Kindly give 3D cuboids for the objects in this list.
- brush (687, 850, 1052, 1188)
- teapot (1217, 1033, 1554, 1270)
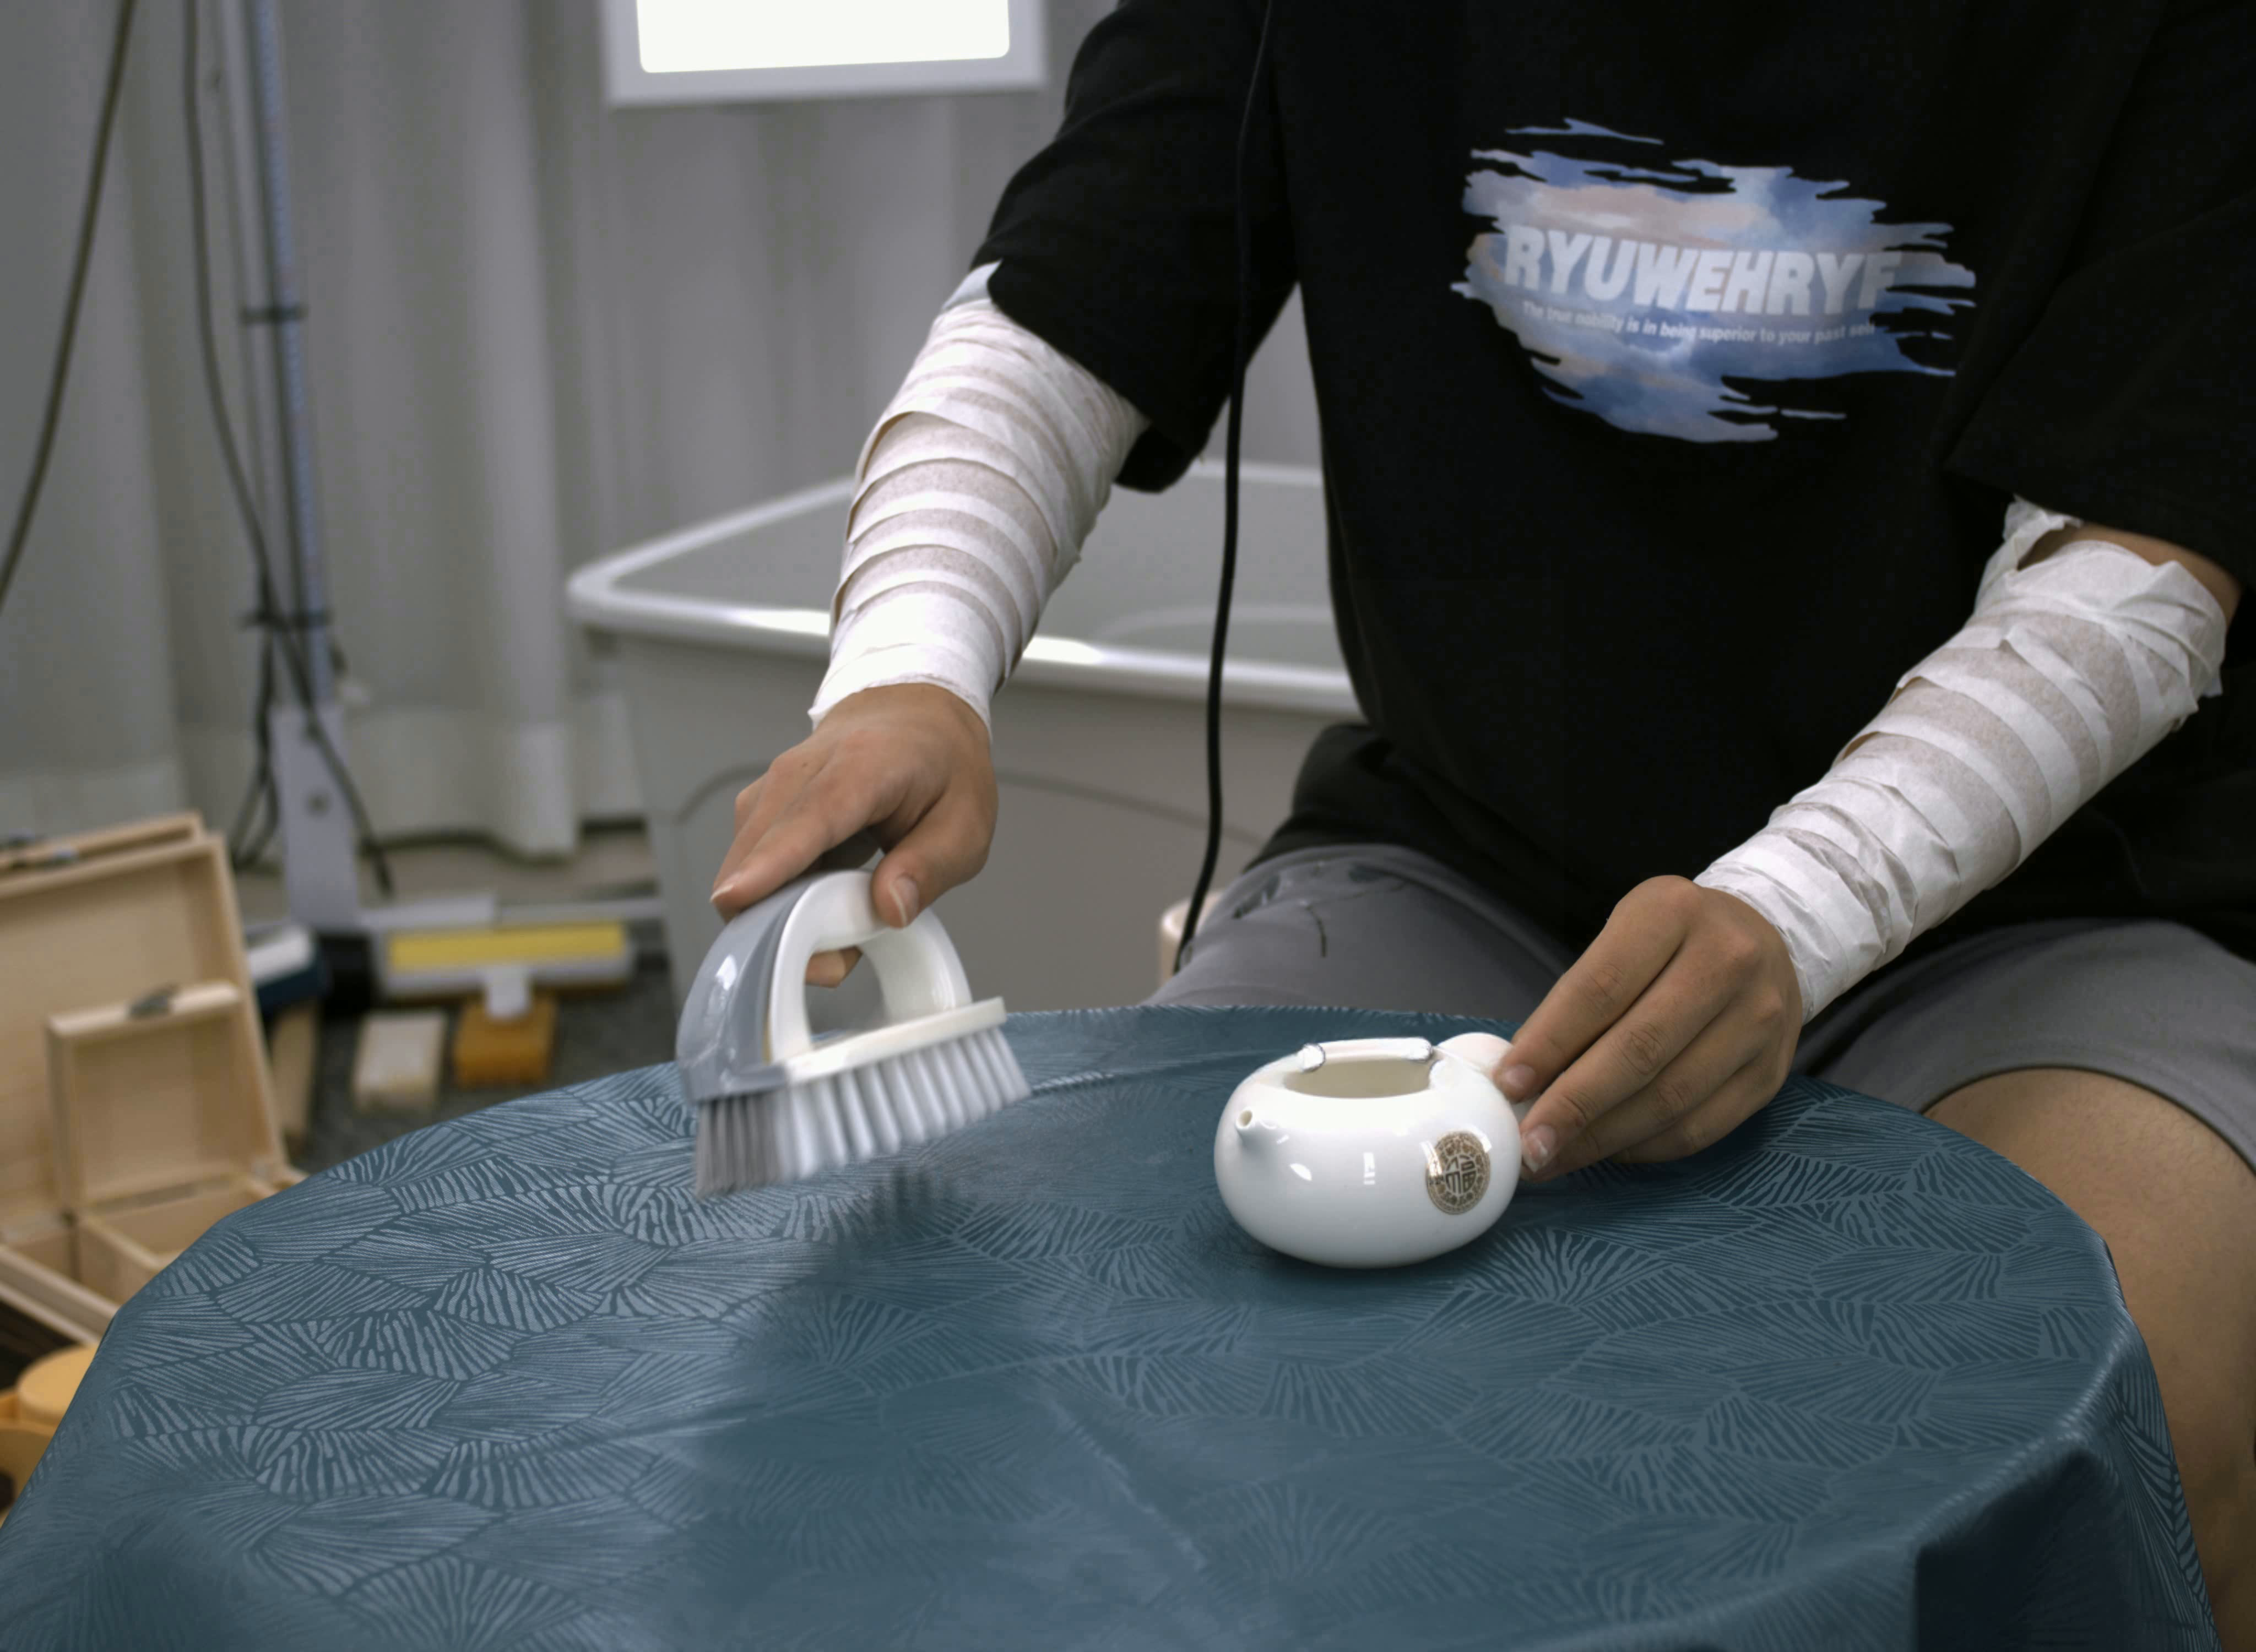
[{"bbox_3d":[-0.091,0.056,1.676,0.061,0.094,0.175,-21,-2,25],"label":"brush"},{"bbox_3d":[0.081,0.097,1.657,0.127,0.056,0.094,-15,15,-41],"label":"teapot"}]
